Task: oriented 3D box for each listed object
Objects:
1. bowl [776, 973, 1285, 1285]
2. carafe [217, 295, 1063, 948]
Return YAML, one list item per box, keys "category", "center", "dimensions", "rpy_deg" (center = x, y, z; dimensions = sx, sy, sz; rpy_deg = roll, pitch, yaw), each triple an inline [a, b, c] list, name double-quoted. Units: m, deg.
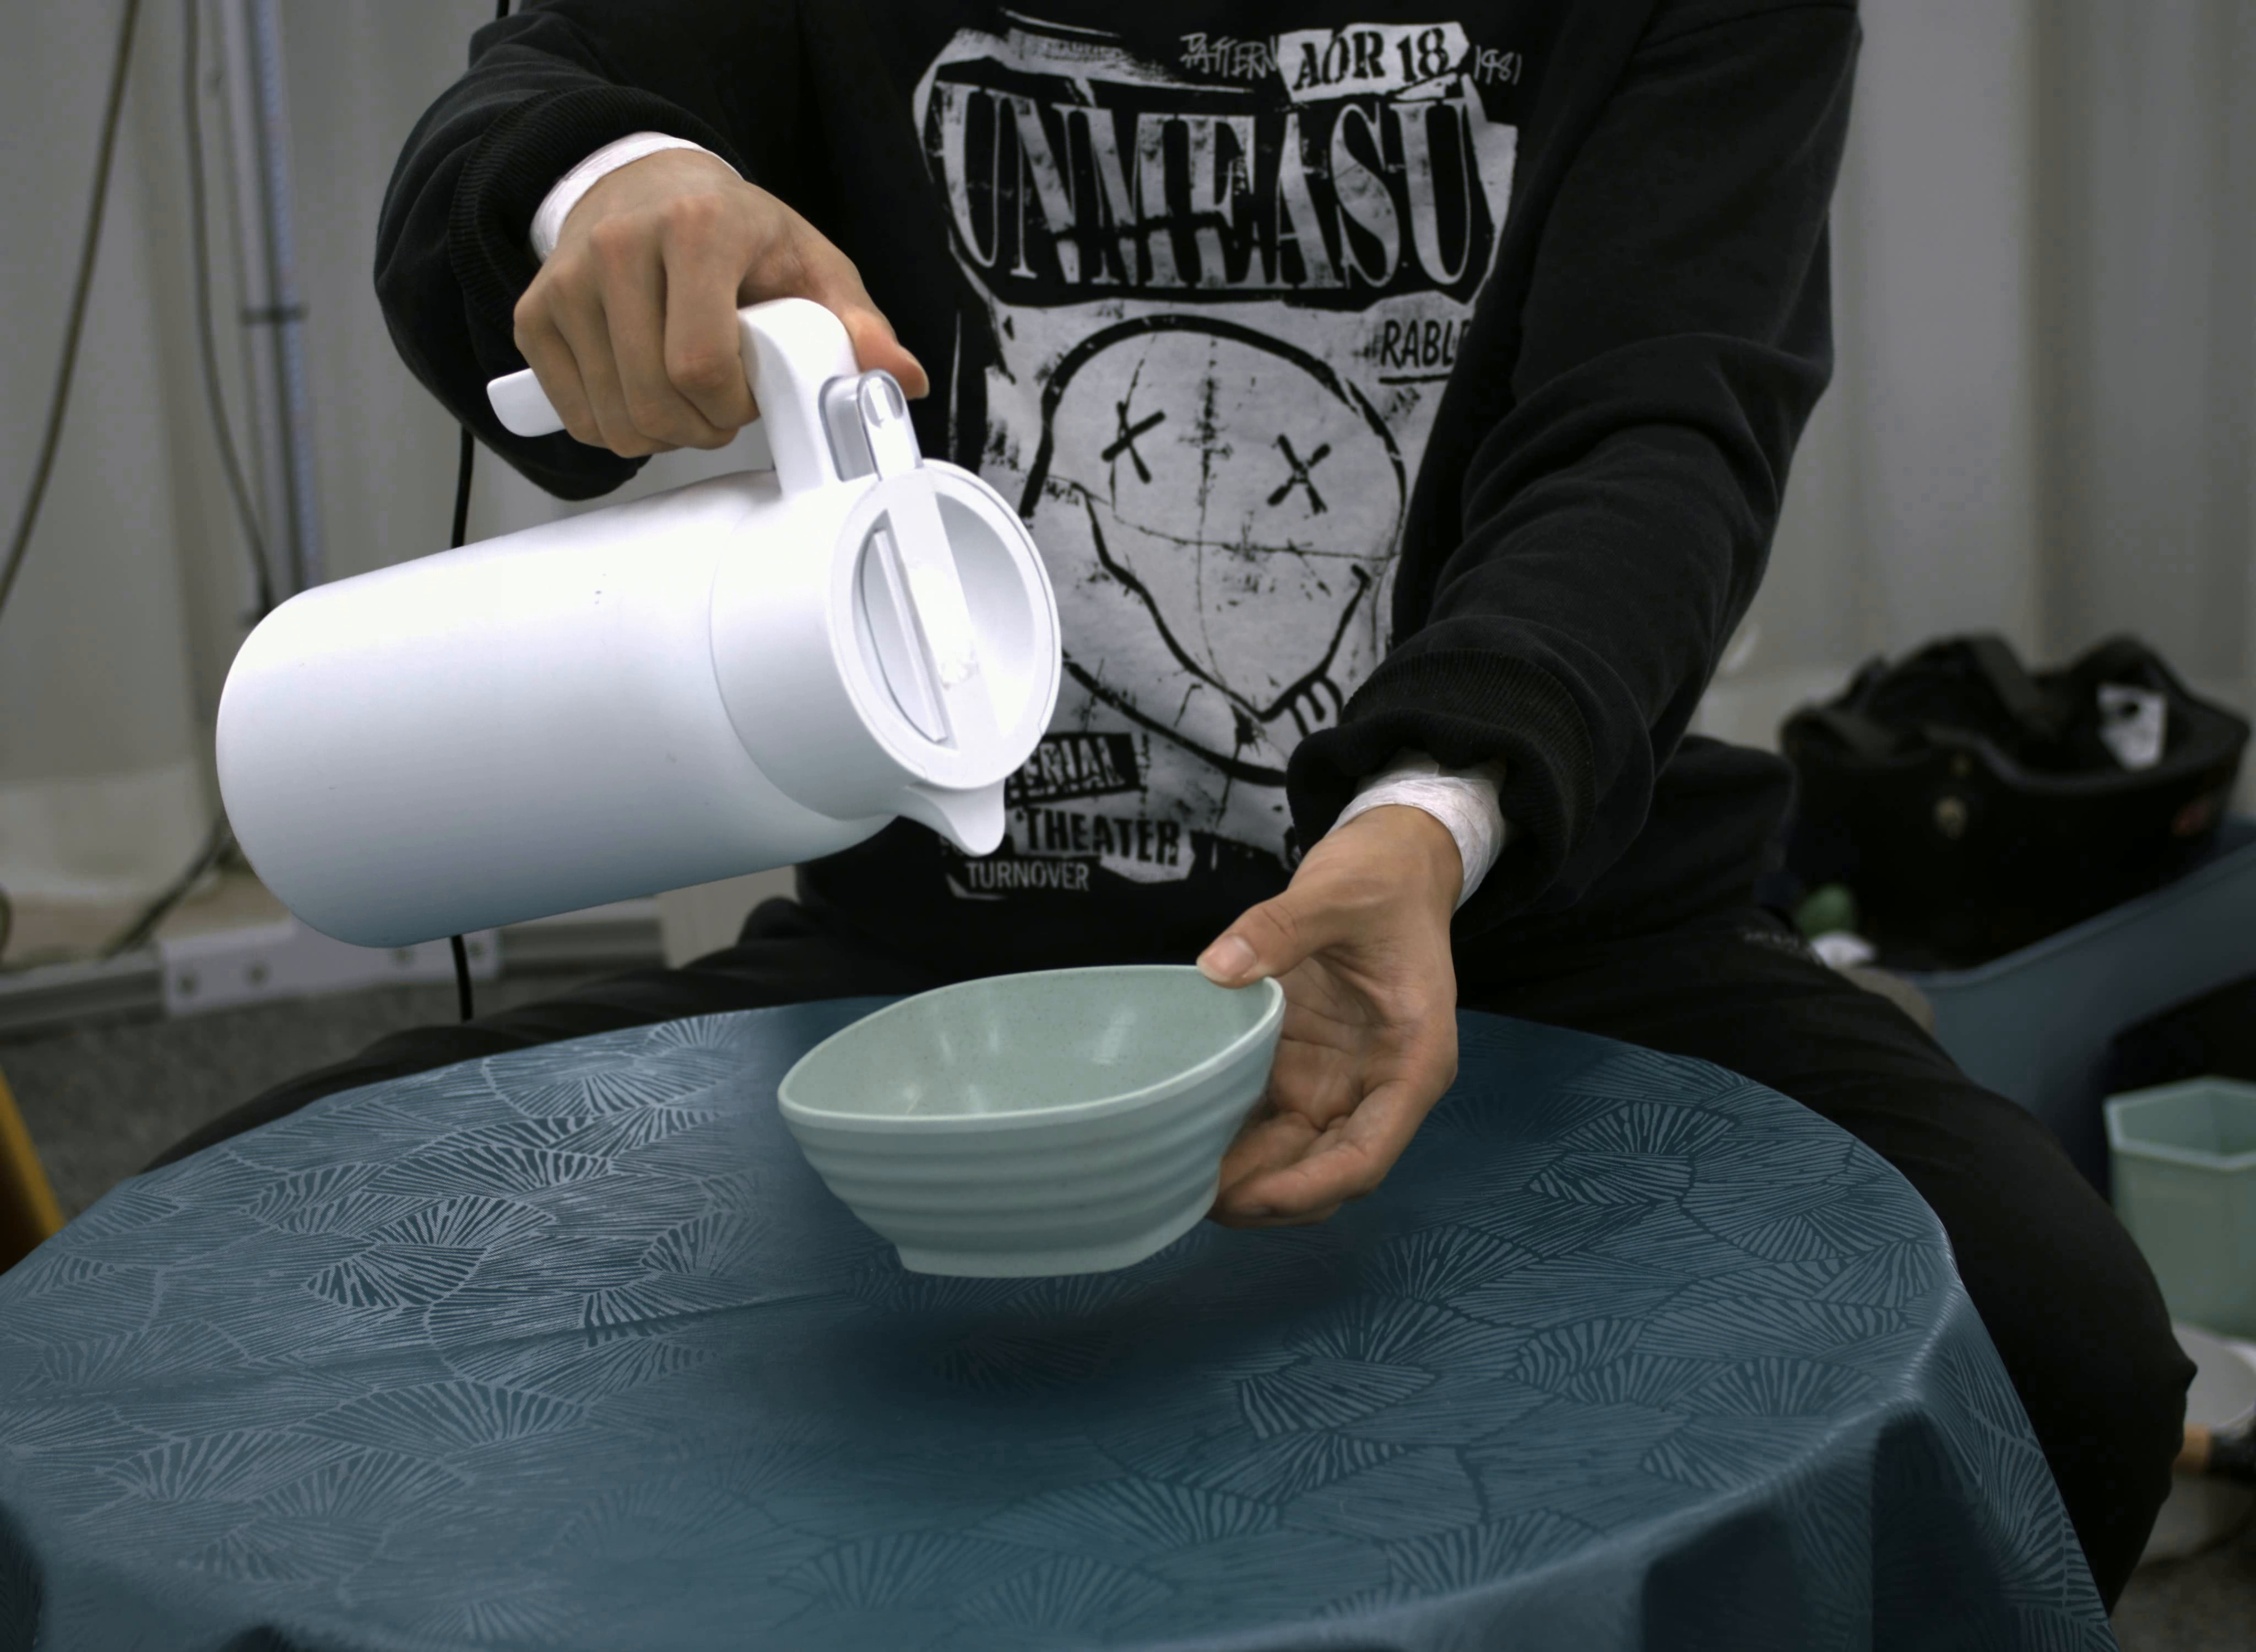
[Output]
- category: "bowl"
  center: [-0.024, 0.090, 1.564]
  dimensions: [0.151, 0.058, 0.152]
  rpy_deg: [-8, 14, 2]
- category: "carafe"
  center: [-0.155, -0.055, 1.649]
  dimensions: [0.269, 0.173, 0.124]
  rpy_deg: [-12, 7, 42]
